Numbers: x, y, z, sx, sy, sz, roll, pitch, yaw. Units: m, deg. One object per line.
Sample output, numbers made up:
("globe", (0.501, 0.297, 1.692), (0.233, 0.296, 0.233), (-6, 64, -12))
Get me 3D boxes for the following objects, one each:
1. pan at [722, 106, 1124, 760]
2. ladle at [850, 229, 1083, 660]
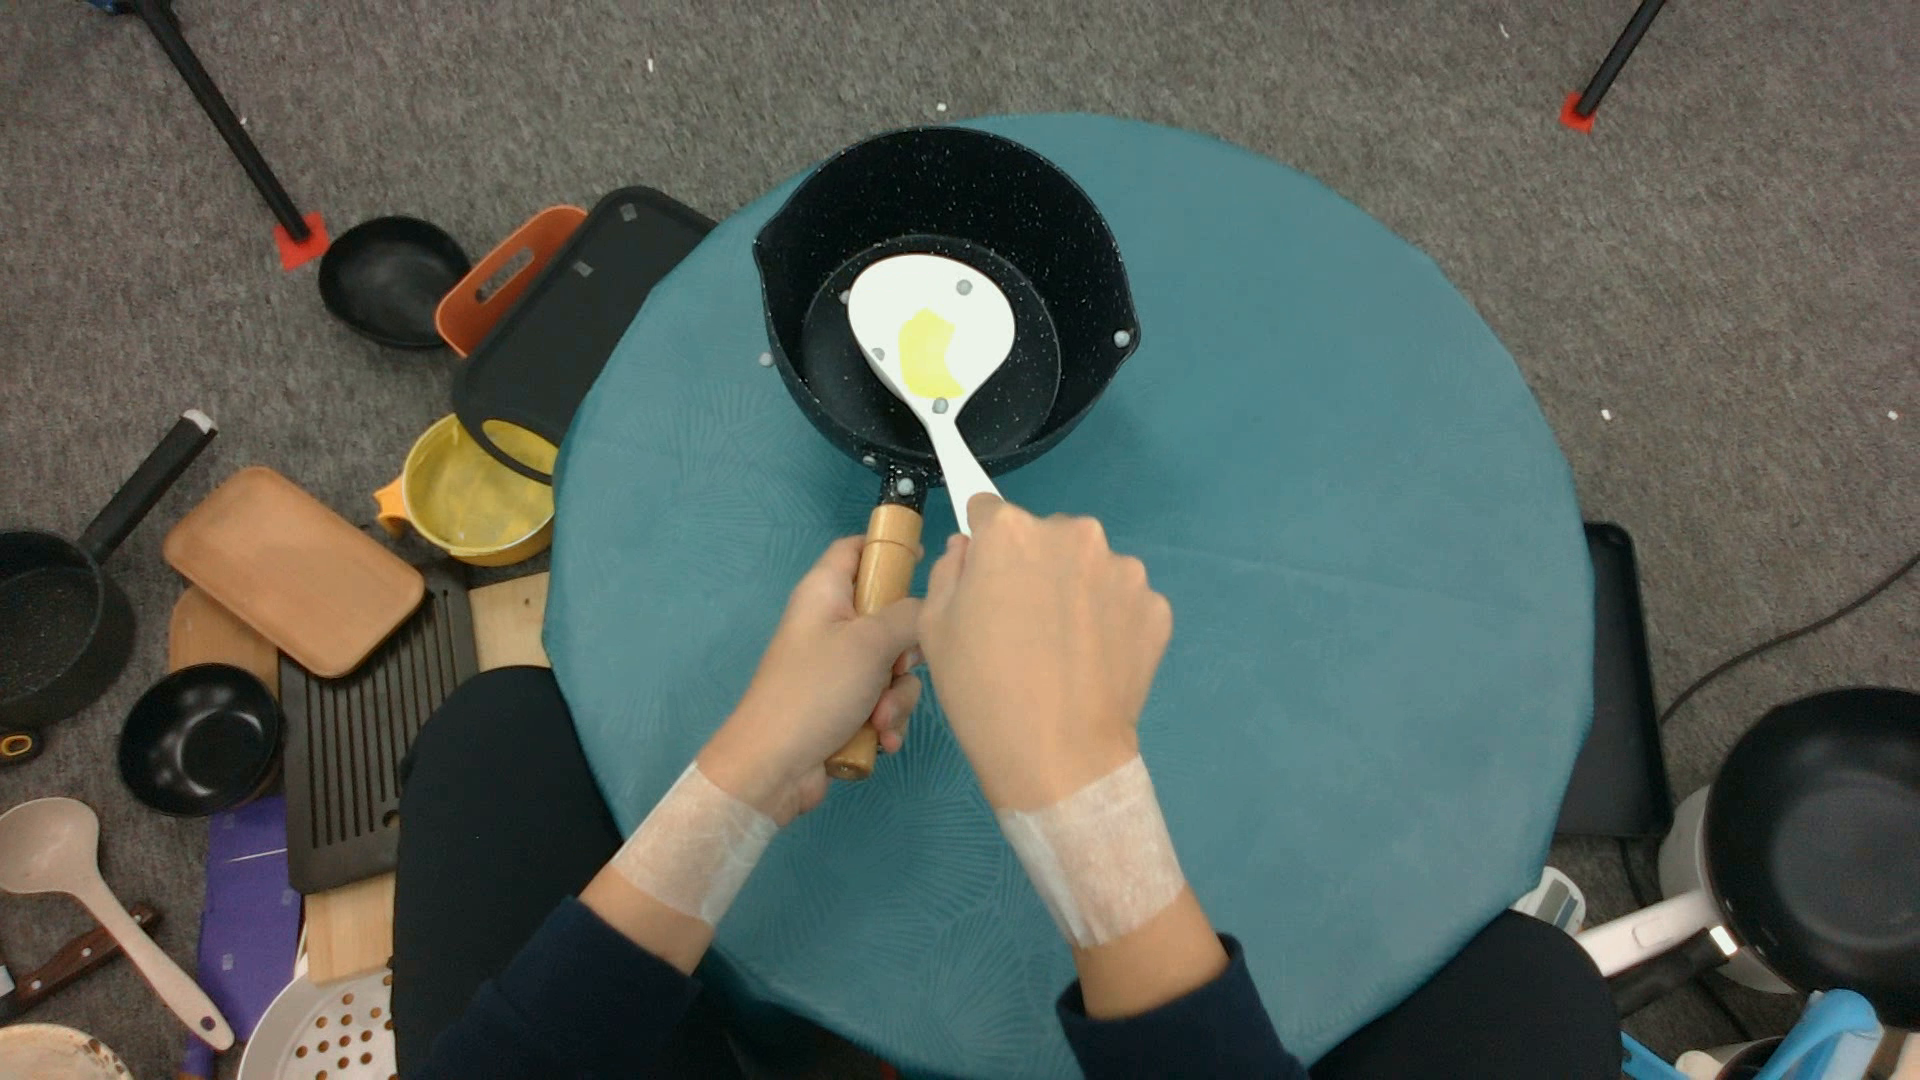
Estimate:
("pan", (-0.033, -0.052, 0.689), (0.207, 0.108, 0.344), (12, 71, -6))
("ladle", (0.006, -0.059, 0.641), (0.090, 0.069, 0.294), (12, 28, -22))
